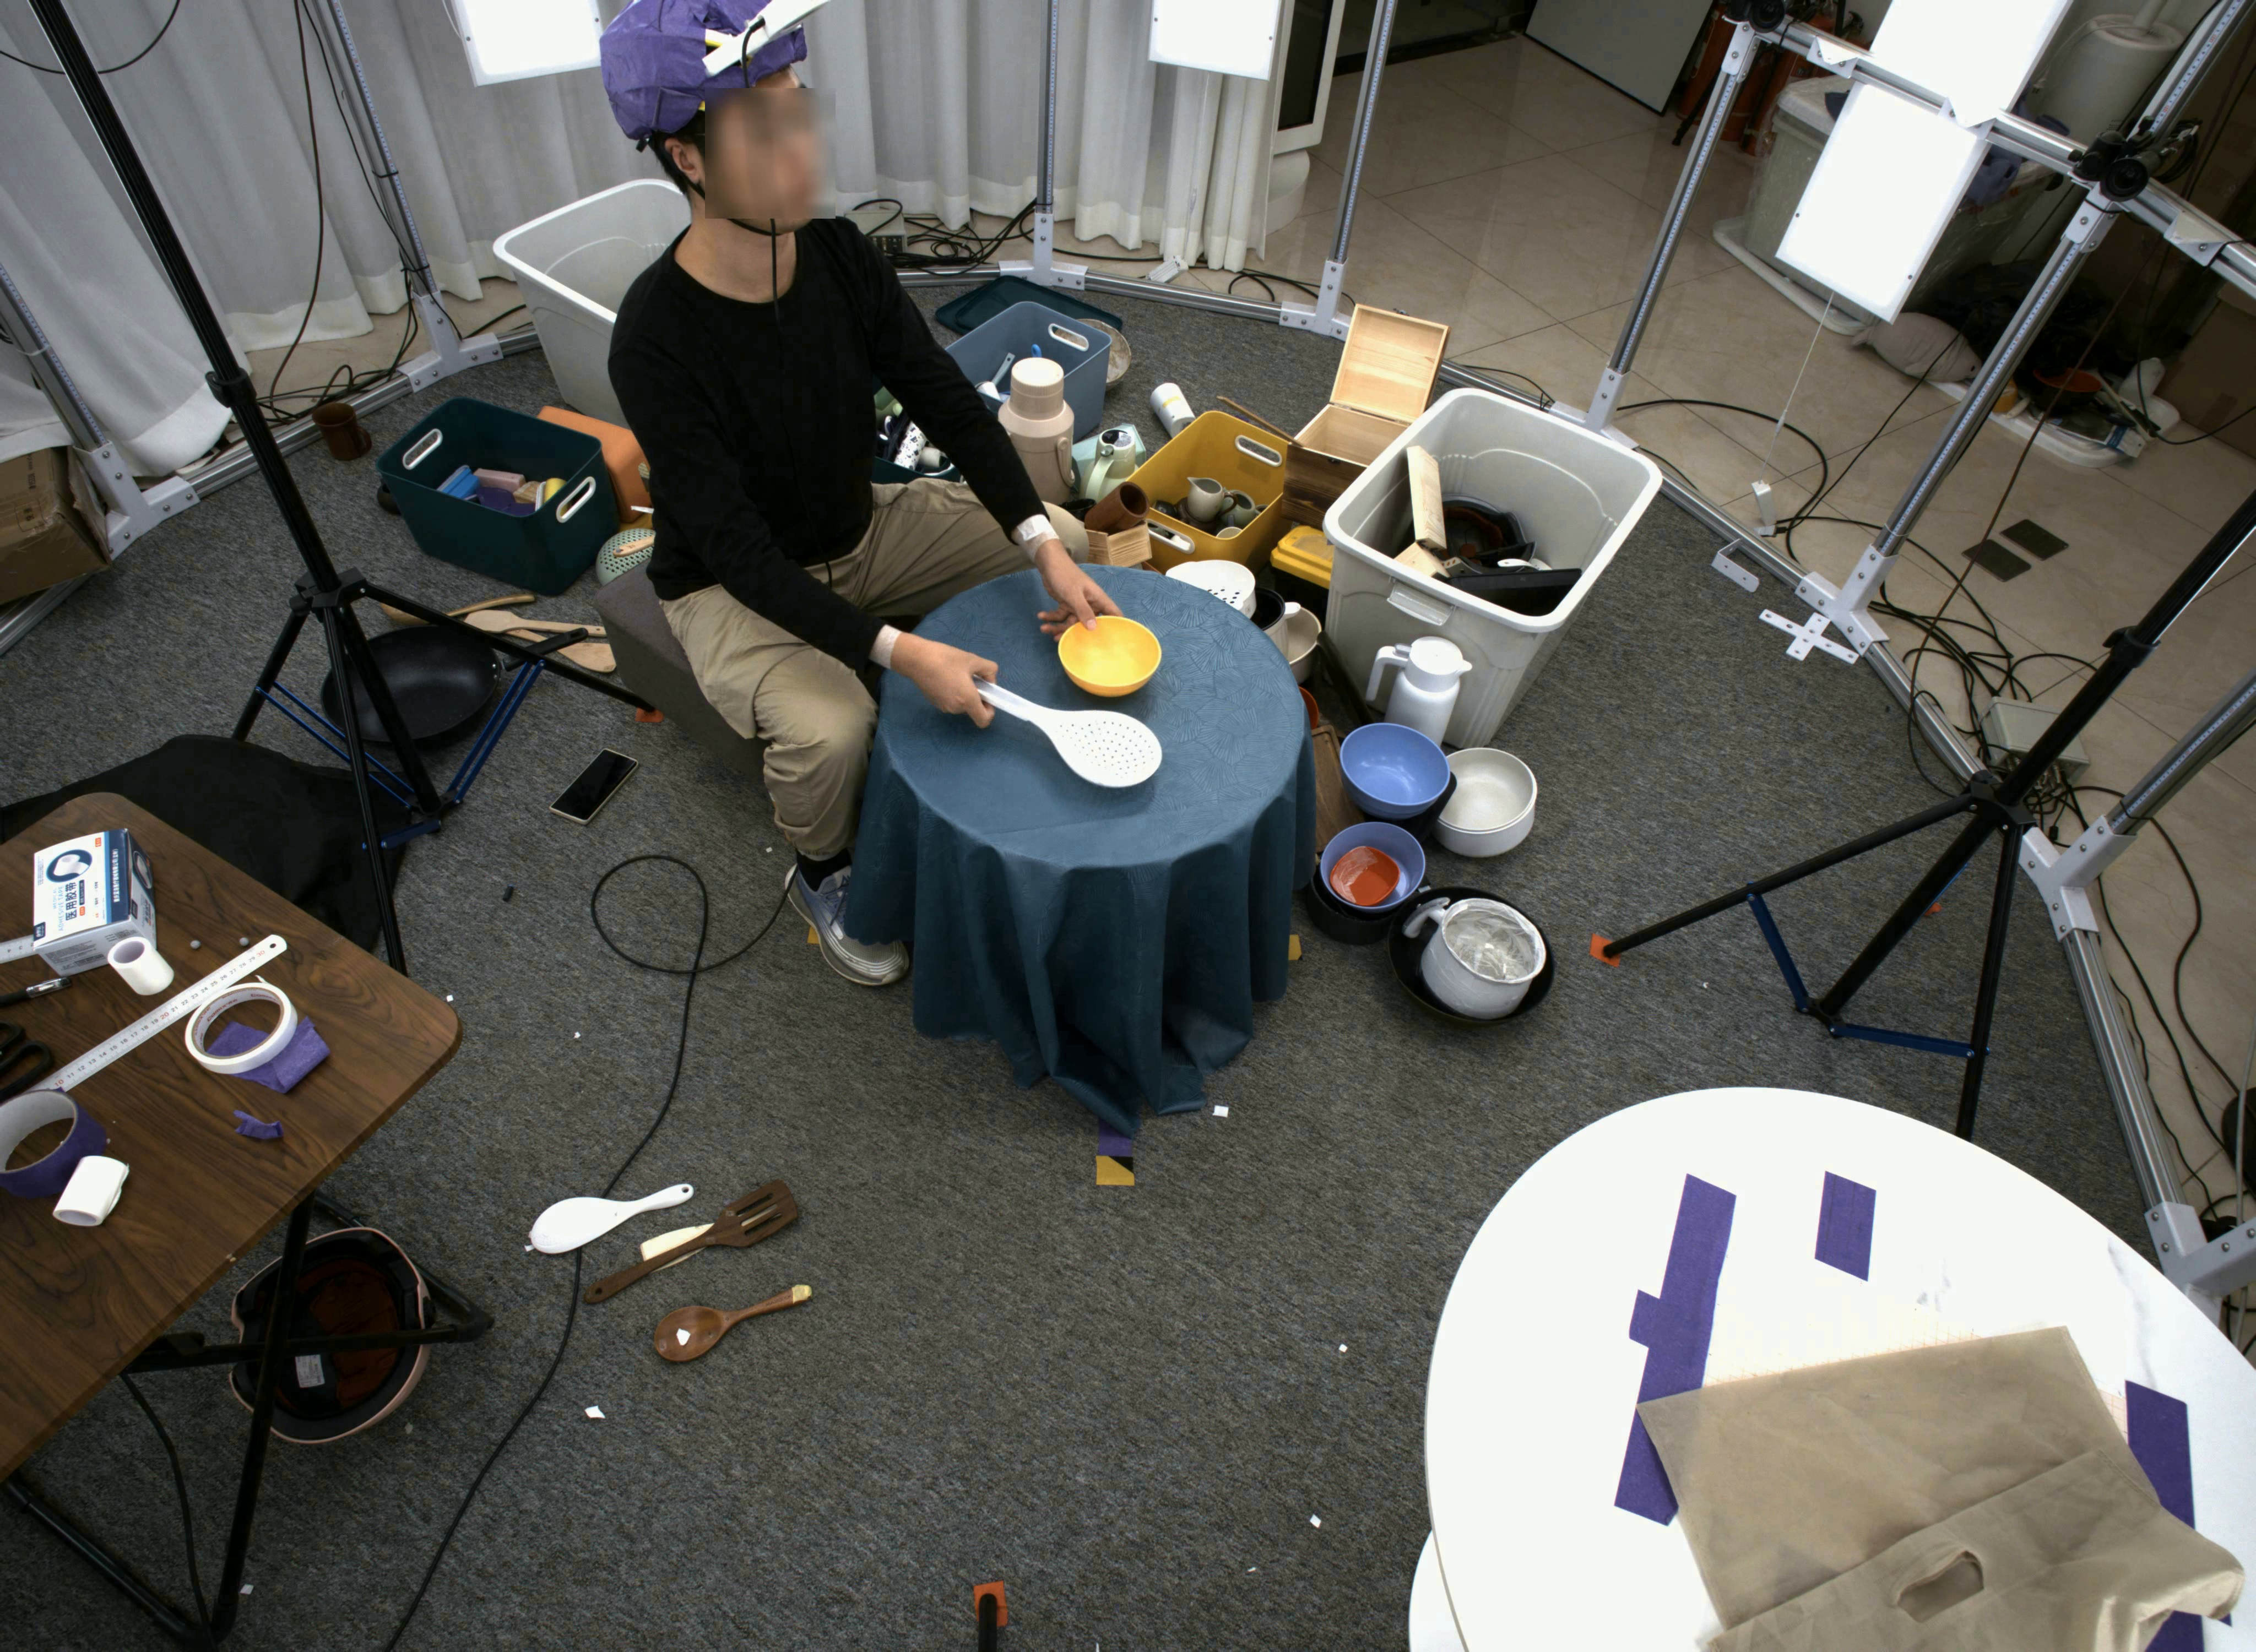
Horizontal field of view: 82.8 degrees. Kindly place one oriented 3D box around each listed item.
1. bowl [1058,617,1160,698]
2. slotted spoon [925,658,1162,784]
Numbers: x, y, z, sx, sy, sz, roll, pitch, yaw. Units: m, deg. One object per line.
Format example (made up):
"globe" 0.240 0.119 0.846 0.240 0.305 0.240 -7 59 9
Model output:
"bowl" -0.029 -0.228 1.830 0.145 0.058 0.149 3 48 -4
"slotted spoon" -0.118 -0.147 1.733 0.351 0.045 0.138 29 43 8
